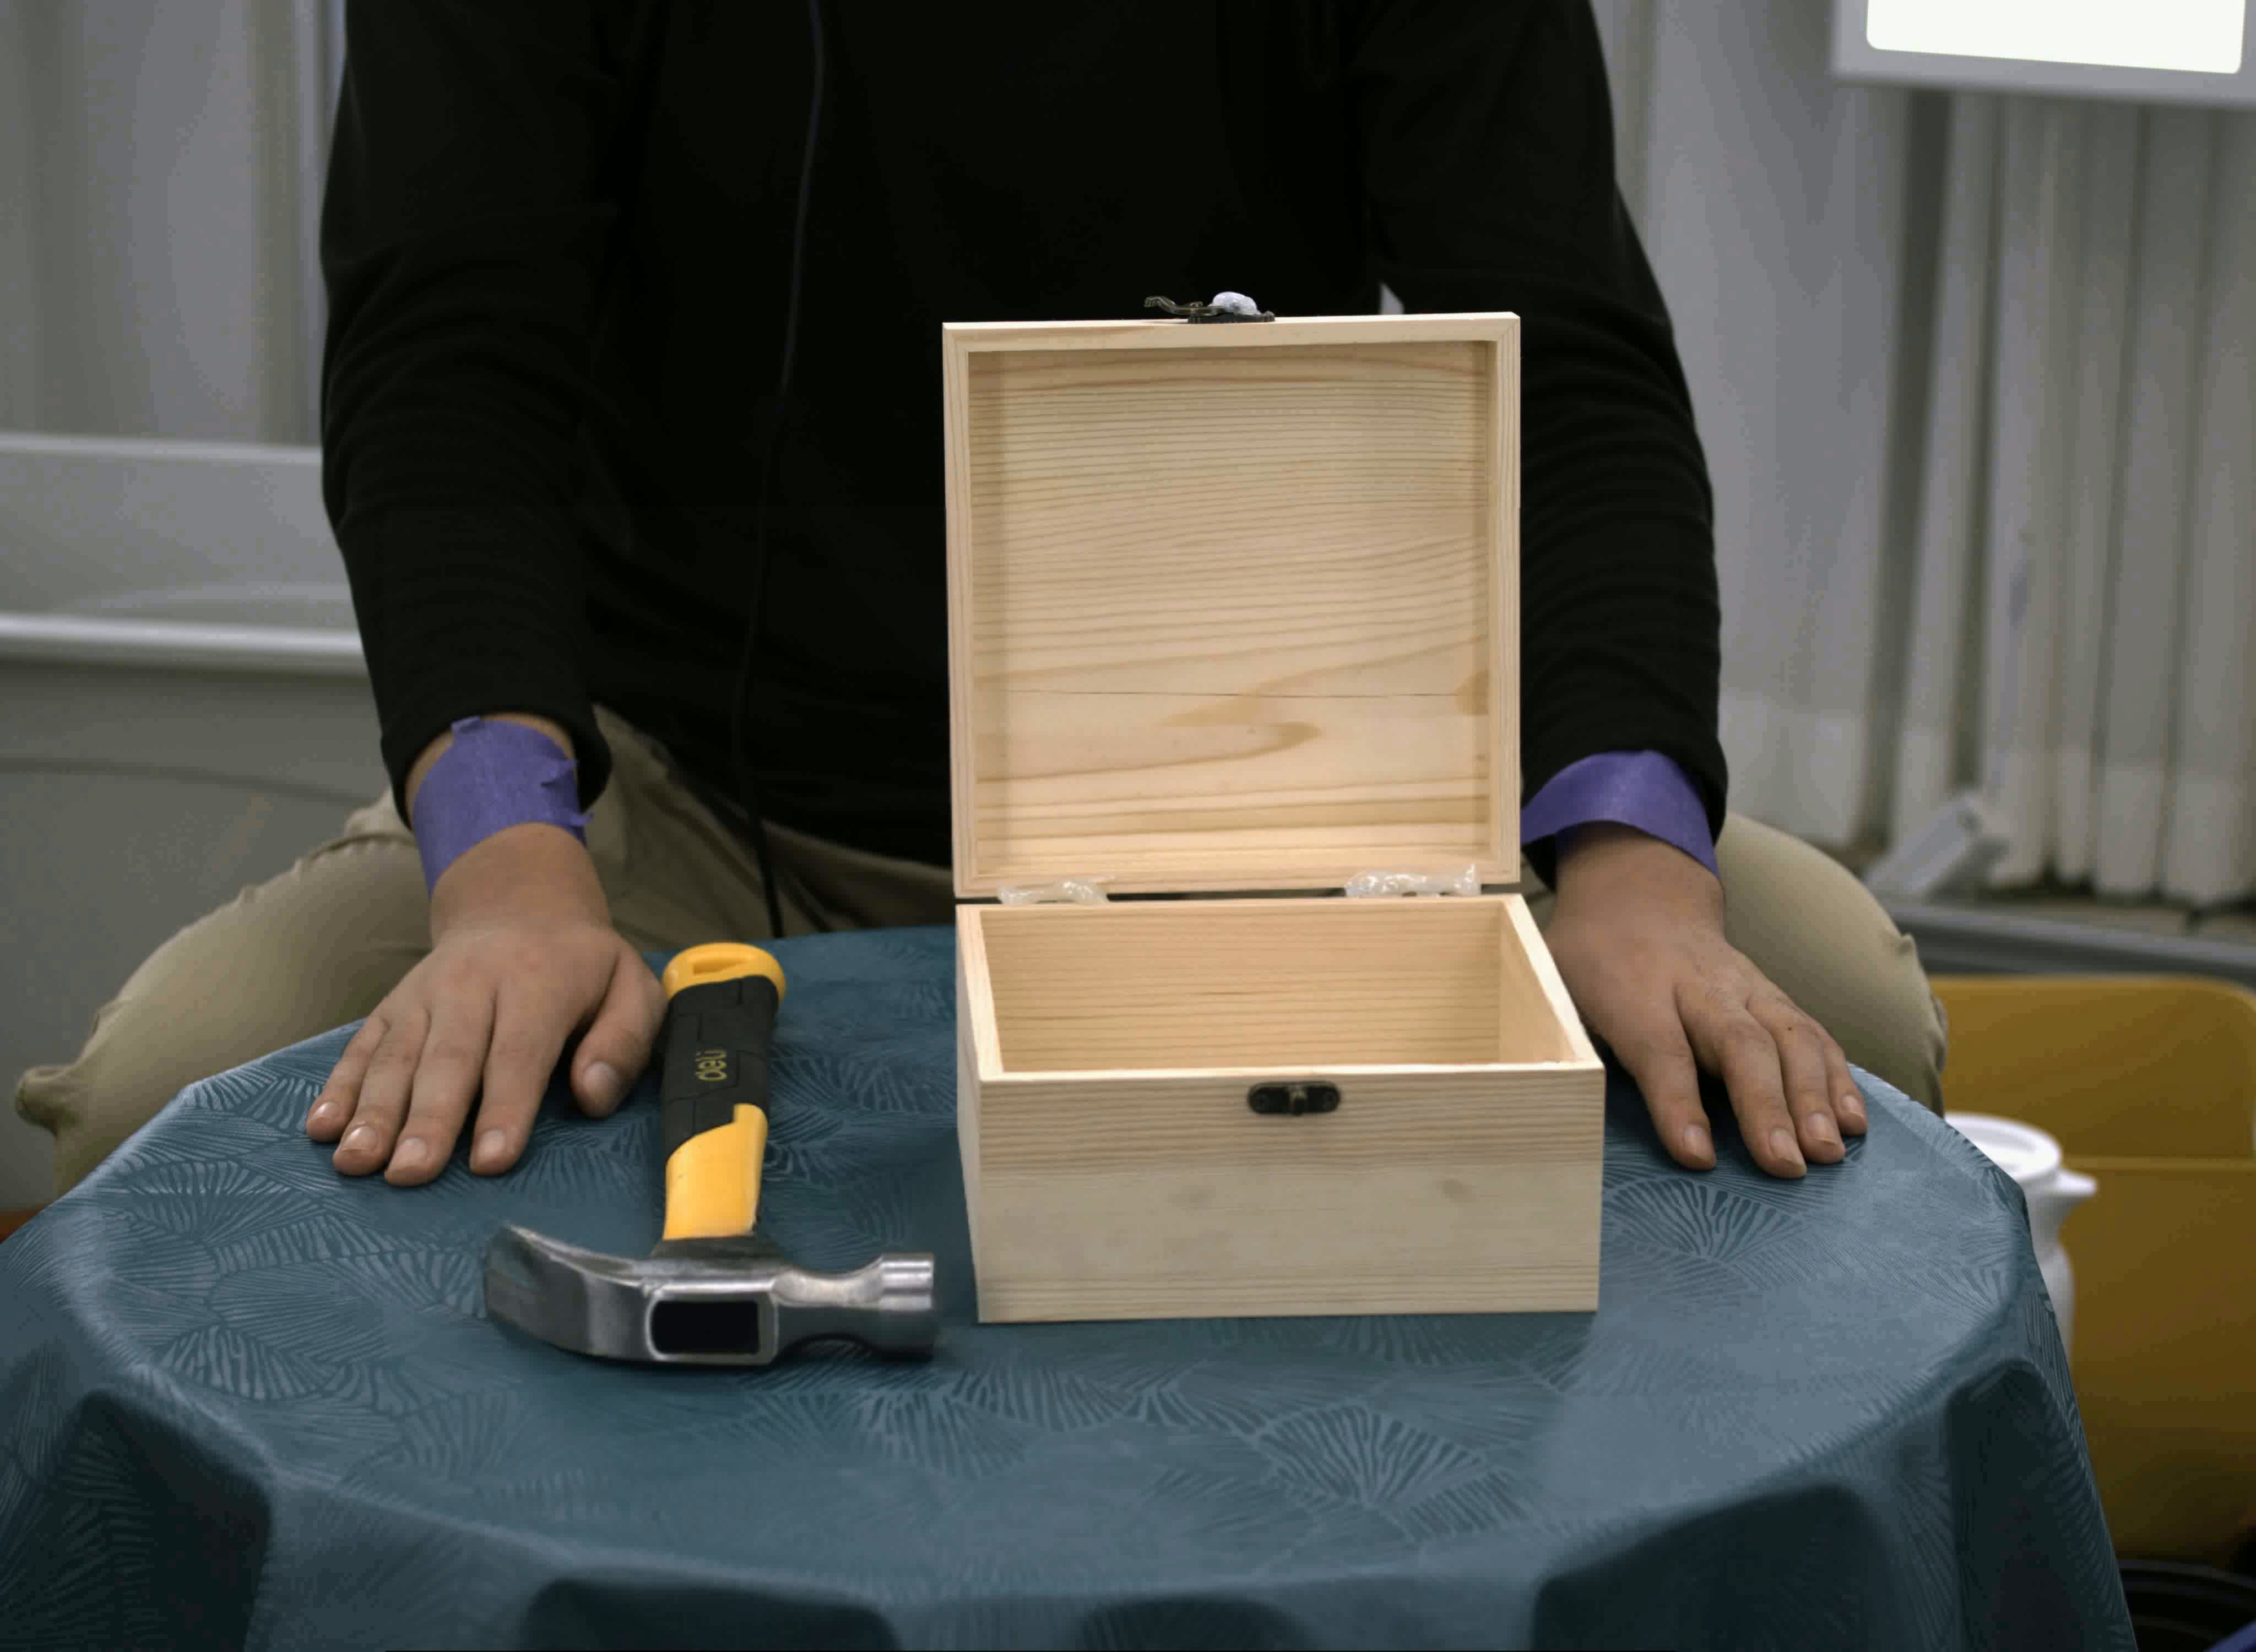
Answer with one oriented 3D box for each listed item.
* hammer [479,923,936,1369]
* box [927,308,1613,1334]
[{"bbox_3d":[-0.127,0.091,1.624,0.131,0.032,0.336,0,17,-3],"label":"hammer"},{"bbox_3d":[0.038,-0.011,1.599,0.181,0.255,0.263,-3,16,-4],"label":"box"}]
